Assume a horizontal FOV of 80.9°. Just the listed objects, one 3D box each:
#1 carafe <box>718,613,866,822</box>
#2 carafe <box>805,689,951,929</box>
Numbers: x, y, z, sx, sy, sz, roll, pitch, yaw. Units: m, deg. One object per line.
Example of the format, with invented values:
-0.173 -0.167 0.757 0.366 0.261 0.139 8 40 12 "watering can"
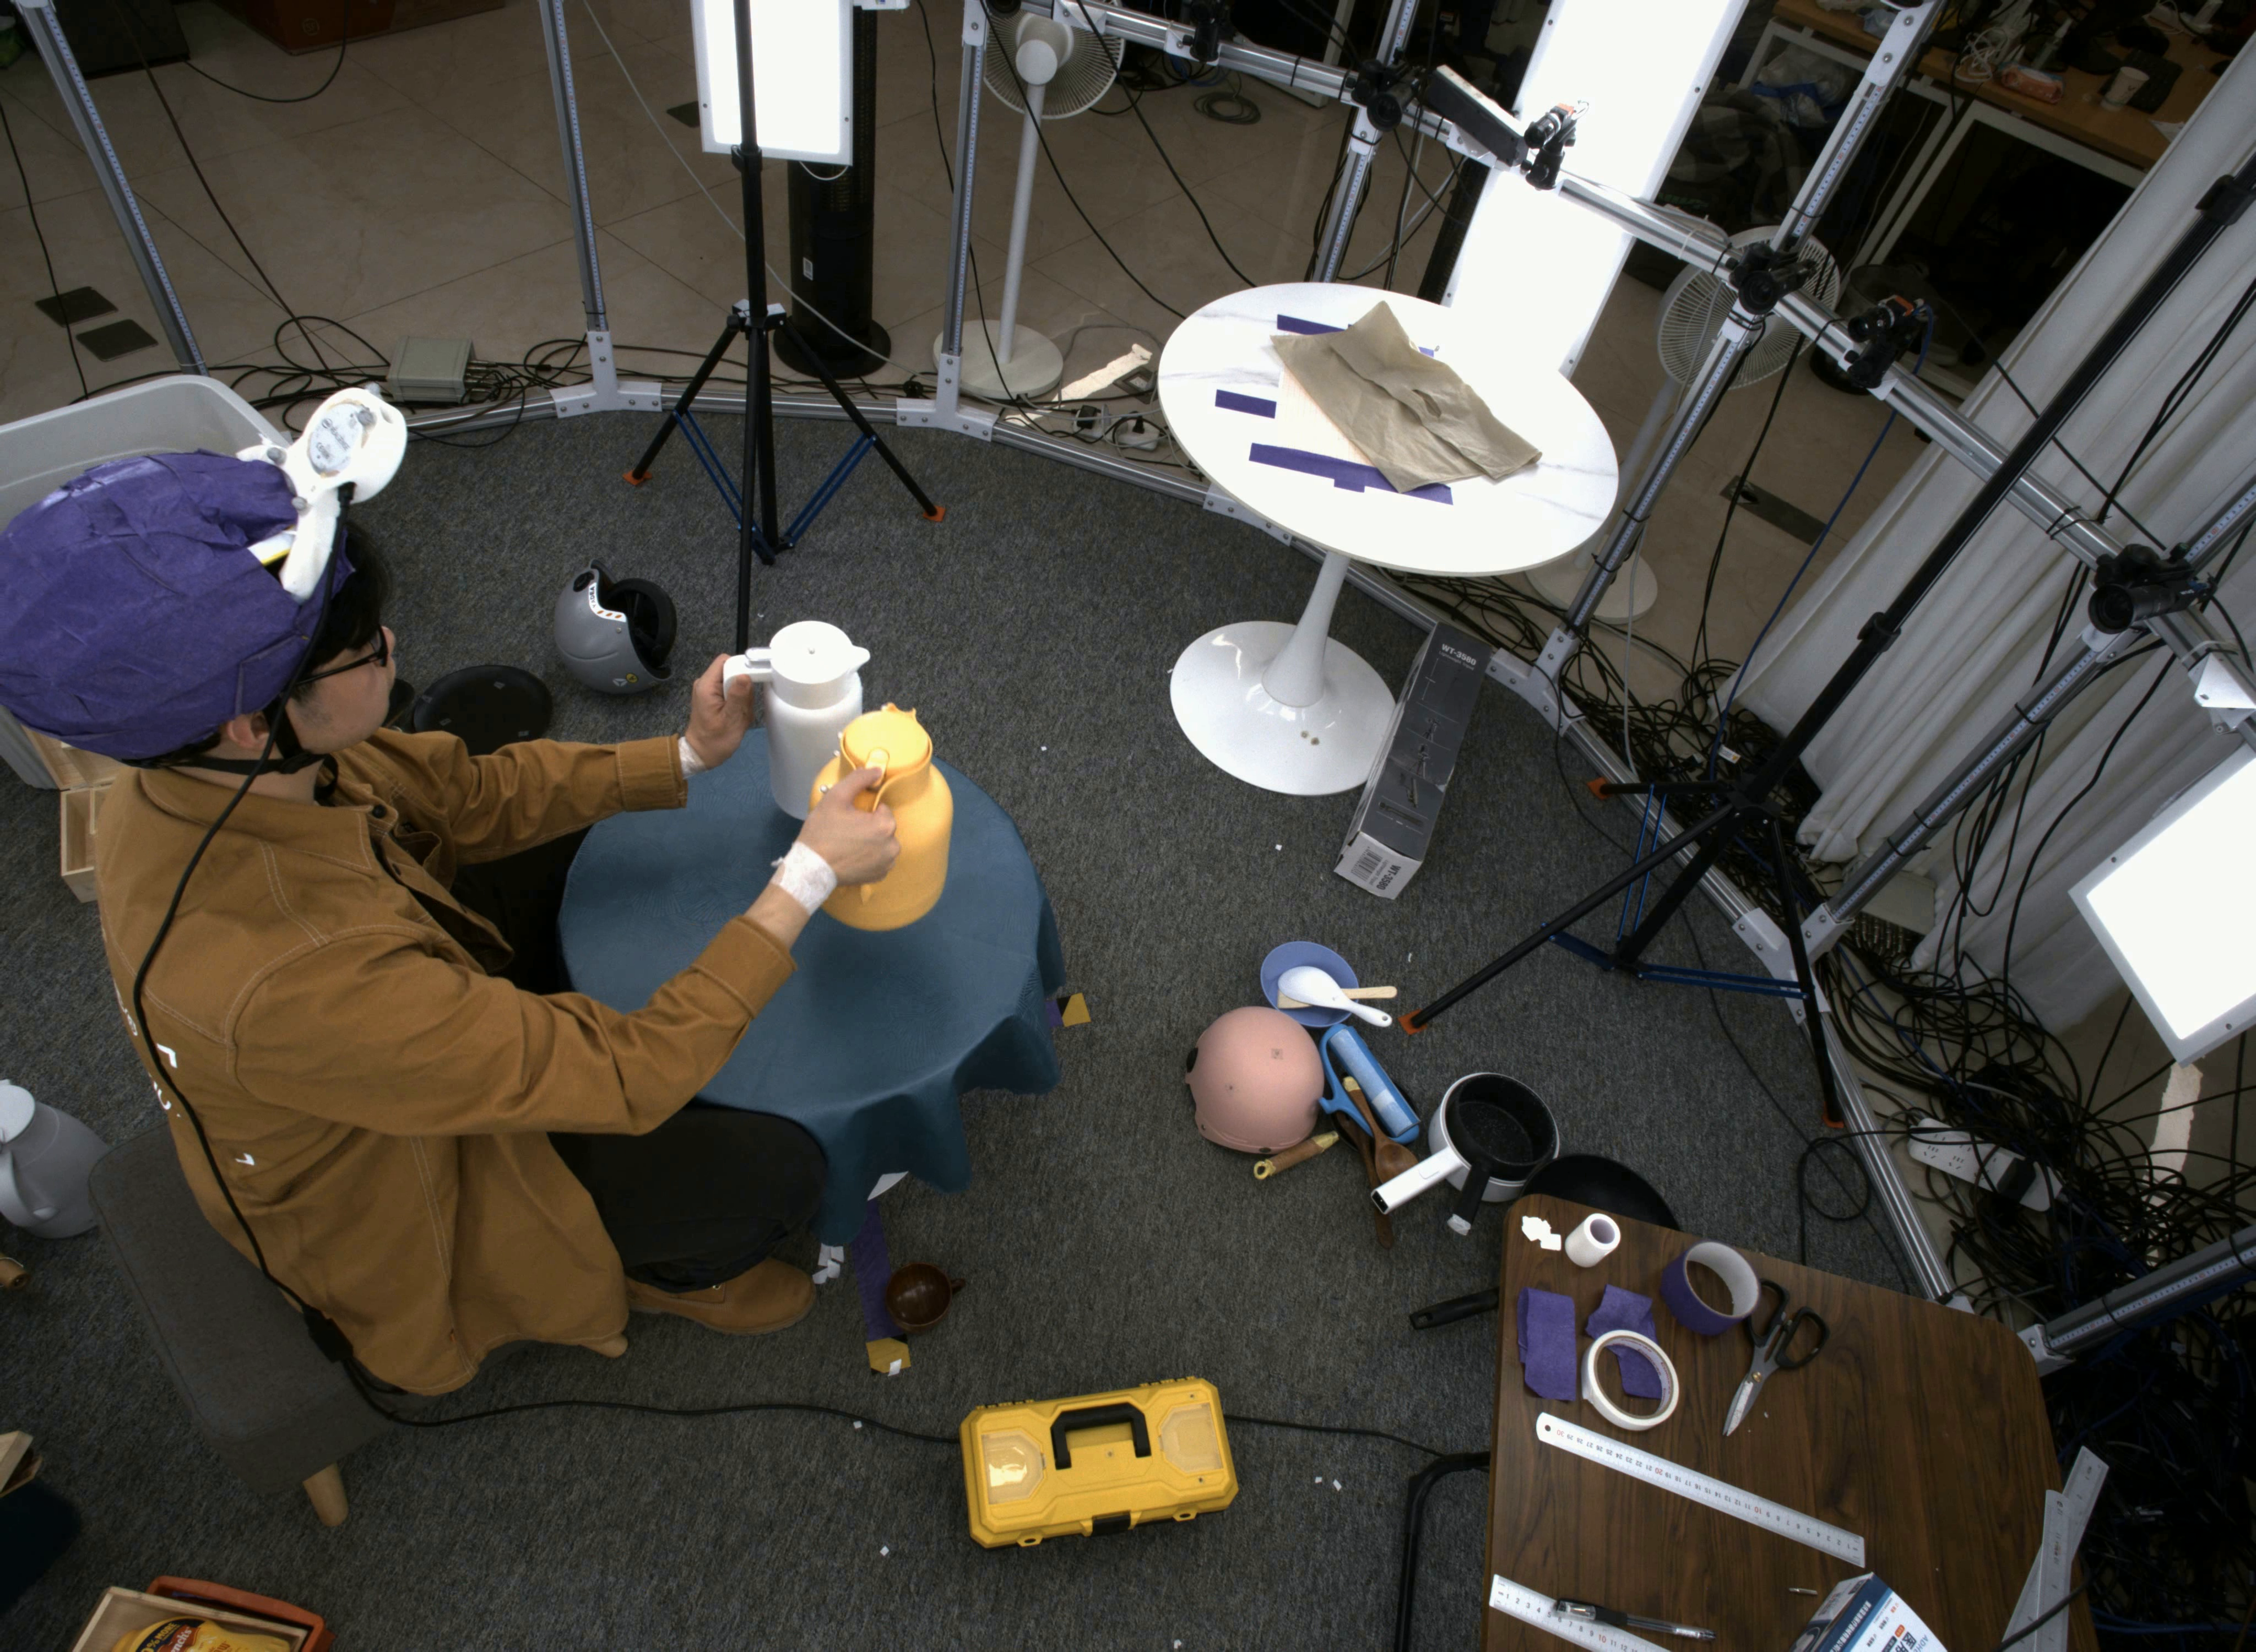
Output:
-0.407 -0.127 1.589 0.173 0.274 0.121 -5 57 -15 "carafe"
-0.284 -0.007 1.438 0.162 0.267 0.199 12 44 1 "carafe"
